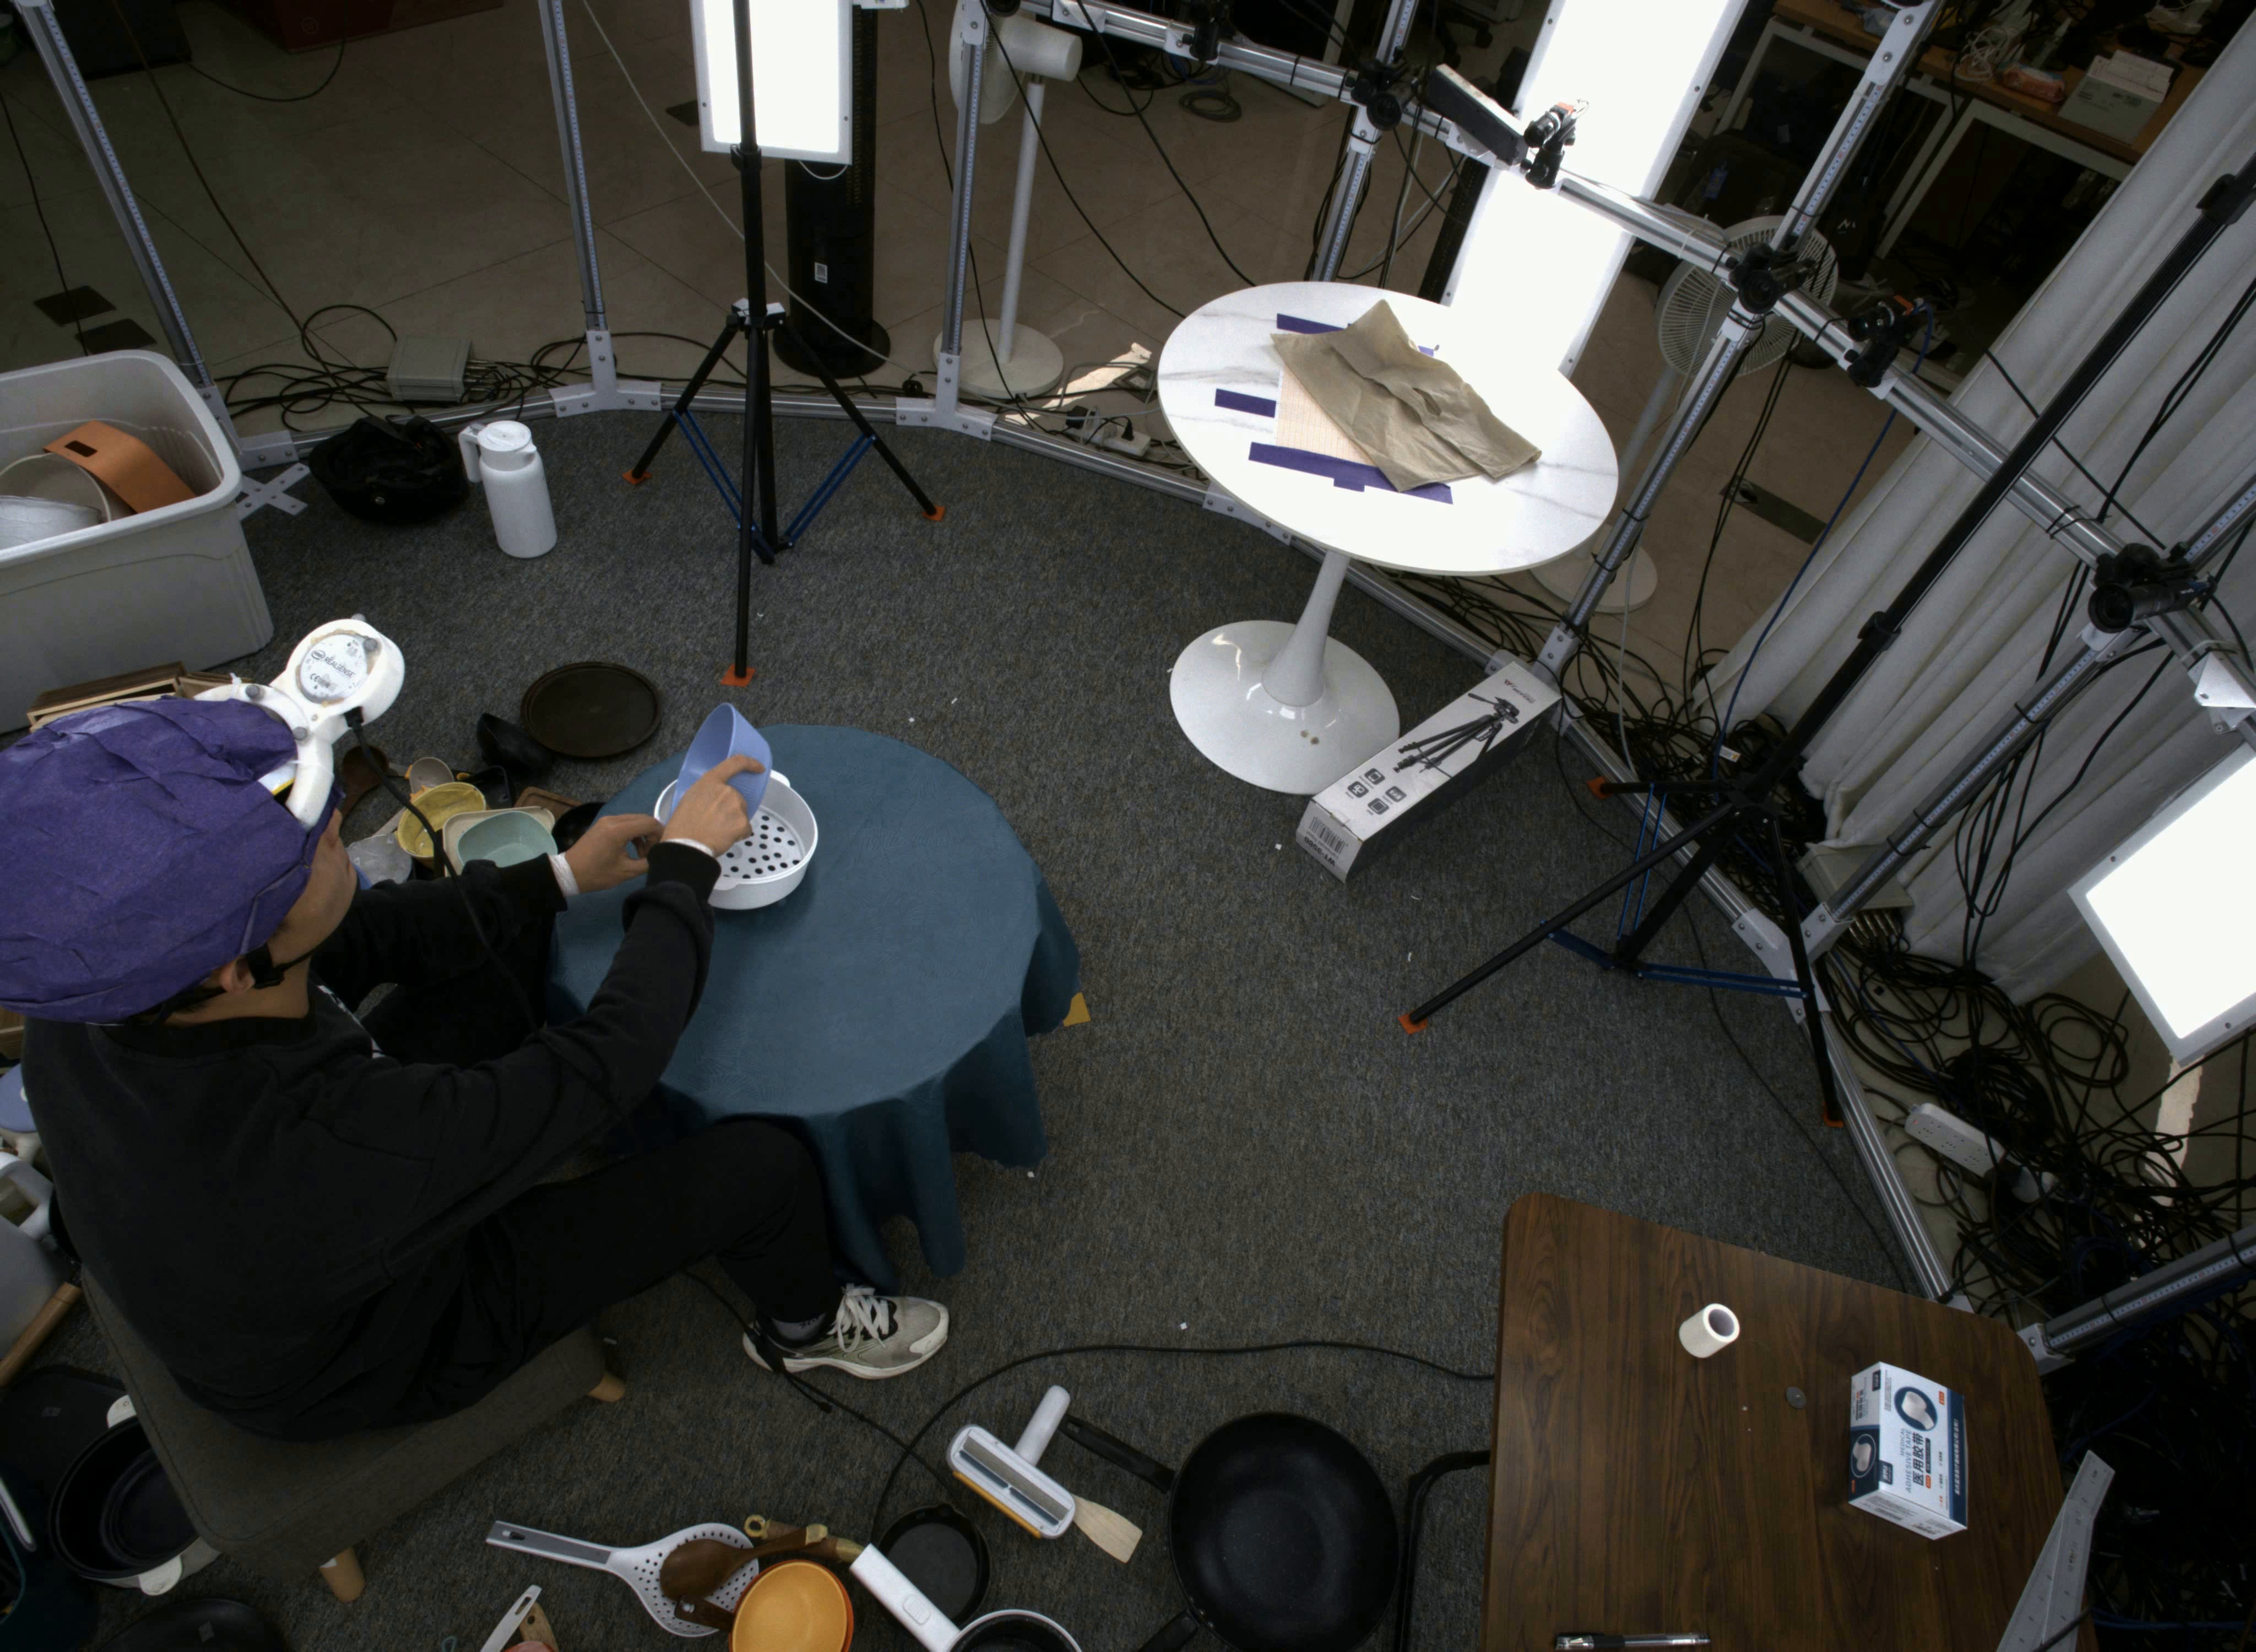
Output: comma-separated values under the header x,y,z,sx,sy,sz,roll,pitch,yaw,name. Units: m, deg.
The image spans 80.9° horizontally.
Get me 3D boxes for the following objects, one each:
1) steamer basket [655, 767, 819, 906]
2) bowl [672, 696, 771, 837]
x,y,z,sx,sy,sz,roll,pitch,yaw,name
-0.498,0.011,1.637,0.202,0.070,0.226,21,38,-9,steamer basket
-0.489,-0.063,1.569,0.072,0.175,0.172,21,44,-33,bowl
